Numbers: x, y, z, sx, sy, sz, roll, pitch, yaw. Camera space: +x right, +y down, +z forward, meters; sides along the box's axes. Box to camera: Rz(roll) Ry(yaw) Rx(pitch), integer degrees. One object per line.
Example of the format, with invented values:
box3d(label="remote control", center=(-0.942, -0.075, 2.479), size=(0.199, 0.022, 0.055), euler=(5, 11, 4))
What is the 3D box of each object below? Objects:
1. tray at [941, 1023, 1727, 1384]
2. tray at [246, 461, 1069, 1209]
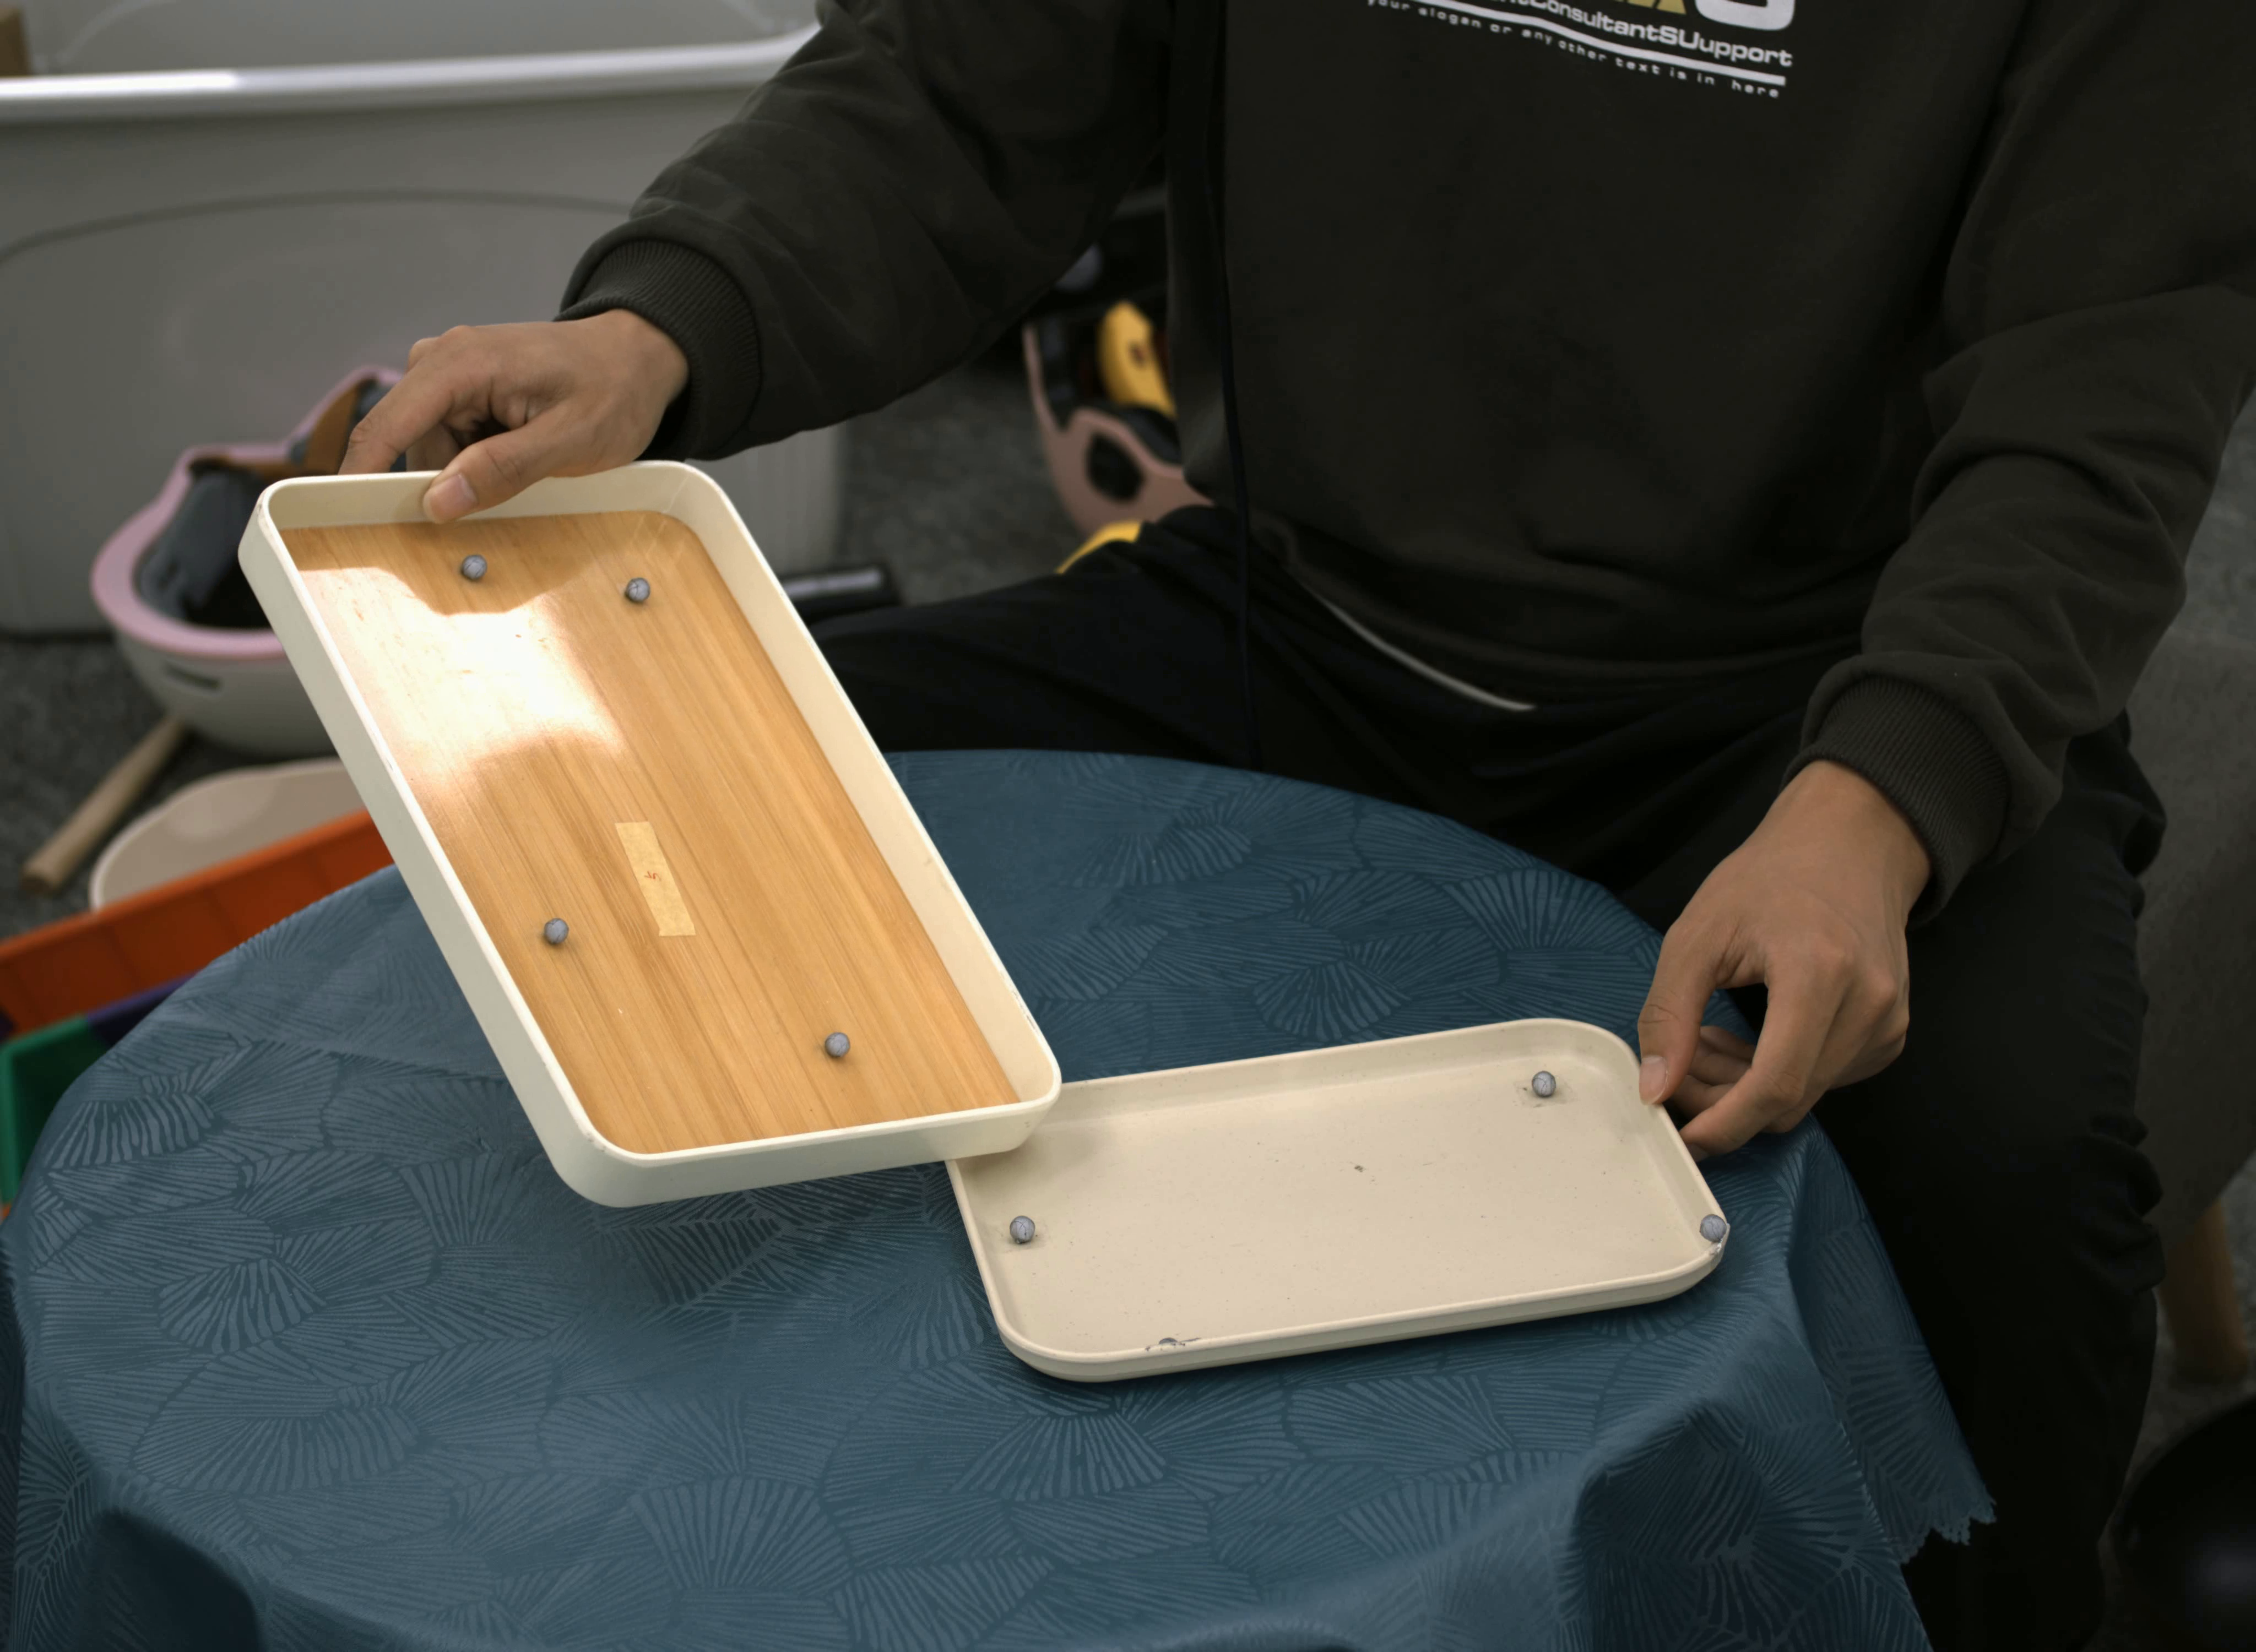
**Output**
box3d(label="tray", center=(0.065, 0.123, 1.838), size=(0.239, 0.017, 0.173), euler=(-7, 27, -9))
box3d(label="tray", center=(-0.160, -0.003, 1.890), size=(0.192, 0.027, 0.304), euler=(-5, 51, -38))
